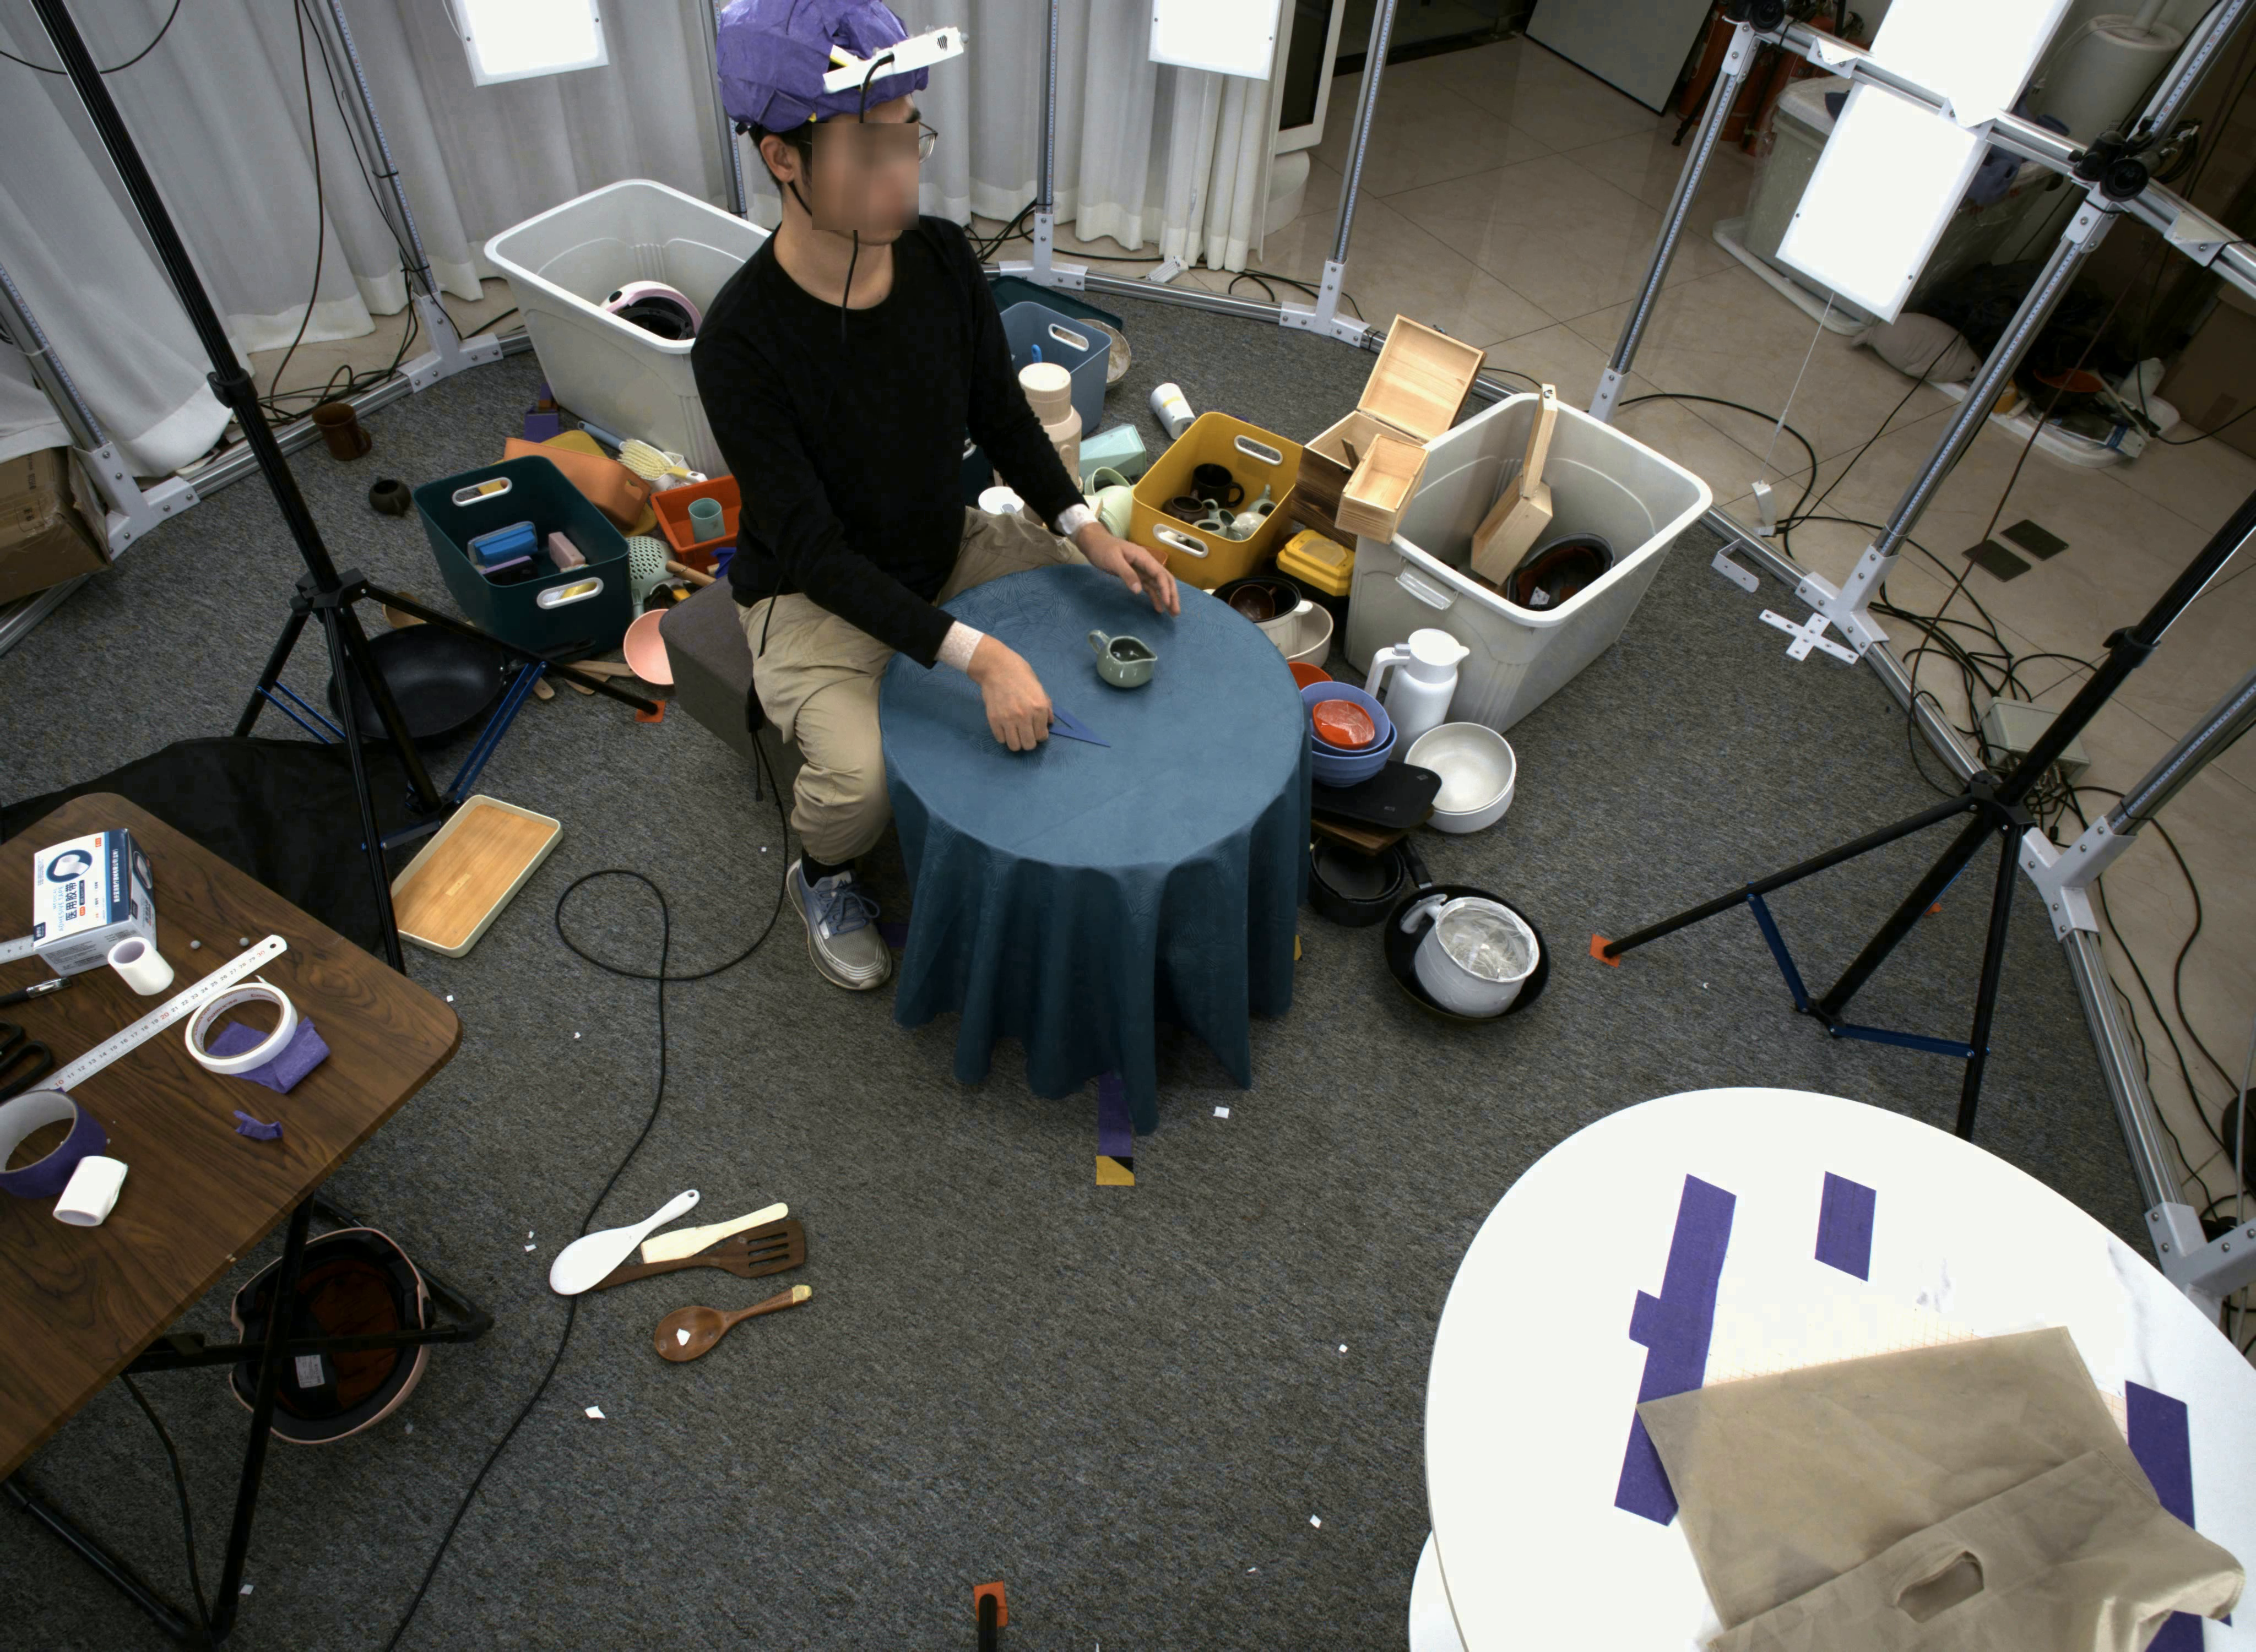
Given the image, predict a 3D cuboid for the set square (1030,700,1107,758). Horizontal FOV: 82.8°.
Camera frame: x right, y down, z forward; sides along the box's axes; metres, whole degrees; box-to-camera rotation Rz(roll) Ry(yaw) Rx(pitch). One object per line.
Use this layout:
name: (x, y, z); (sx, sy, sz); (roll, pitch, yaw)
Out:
set square: (-0.090, -0.126, 1.771); (0.061, 0.006, 0.134); (-31, 58, -28)

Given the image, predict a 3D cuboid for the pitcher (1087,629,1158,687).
pitcher: (-0.009, -0.243, 1.844); (0.113, 0.055, 0.085); (25, 50, 17)
